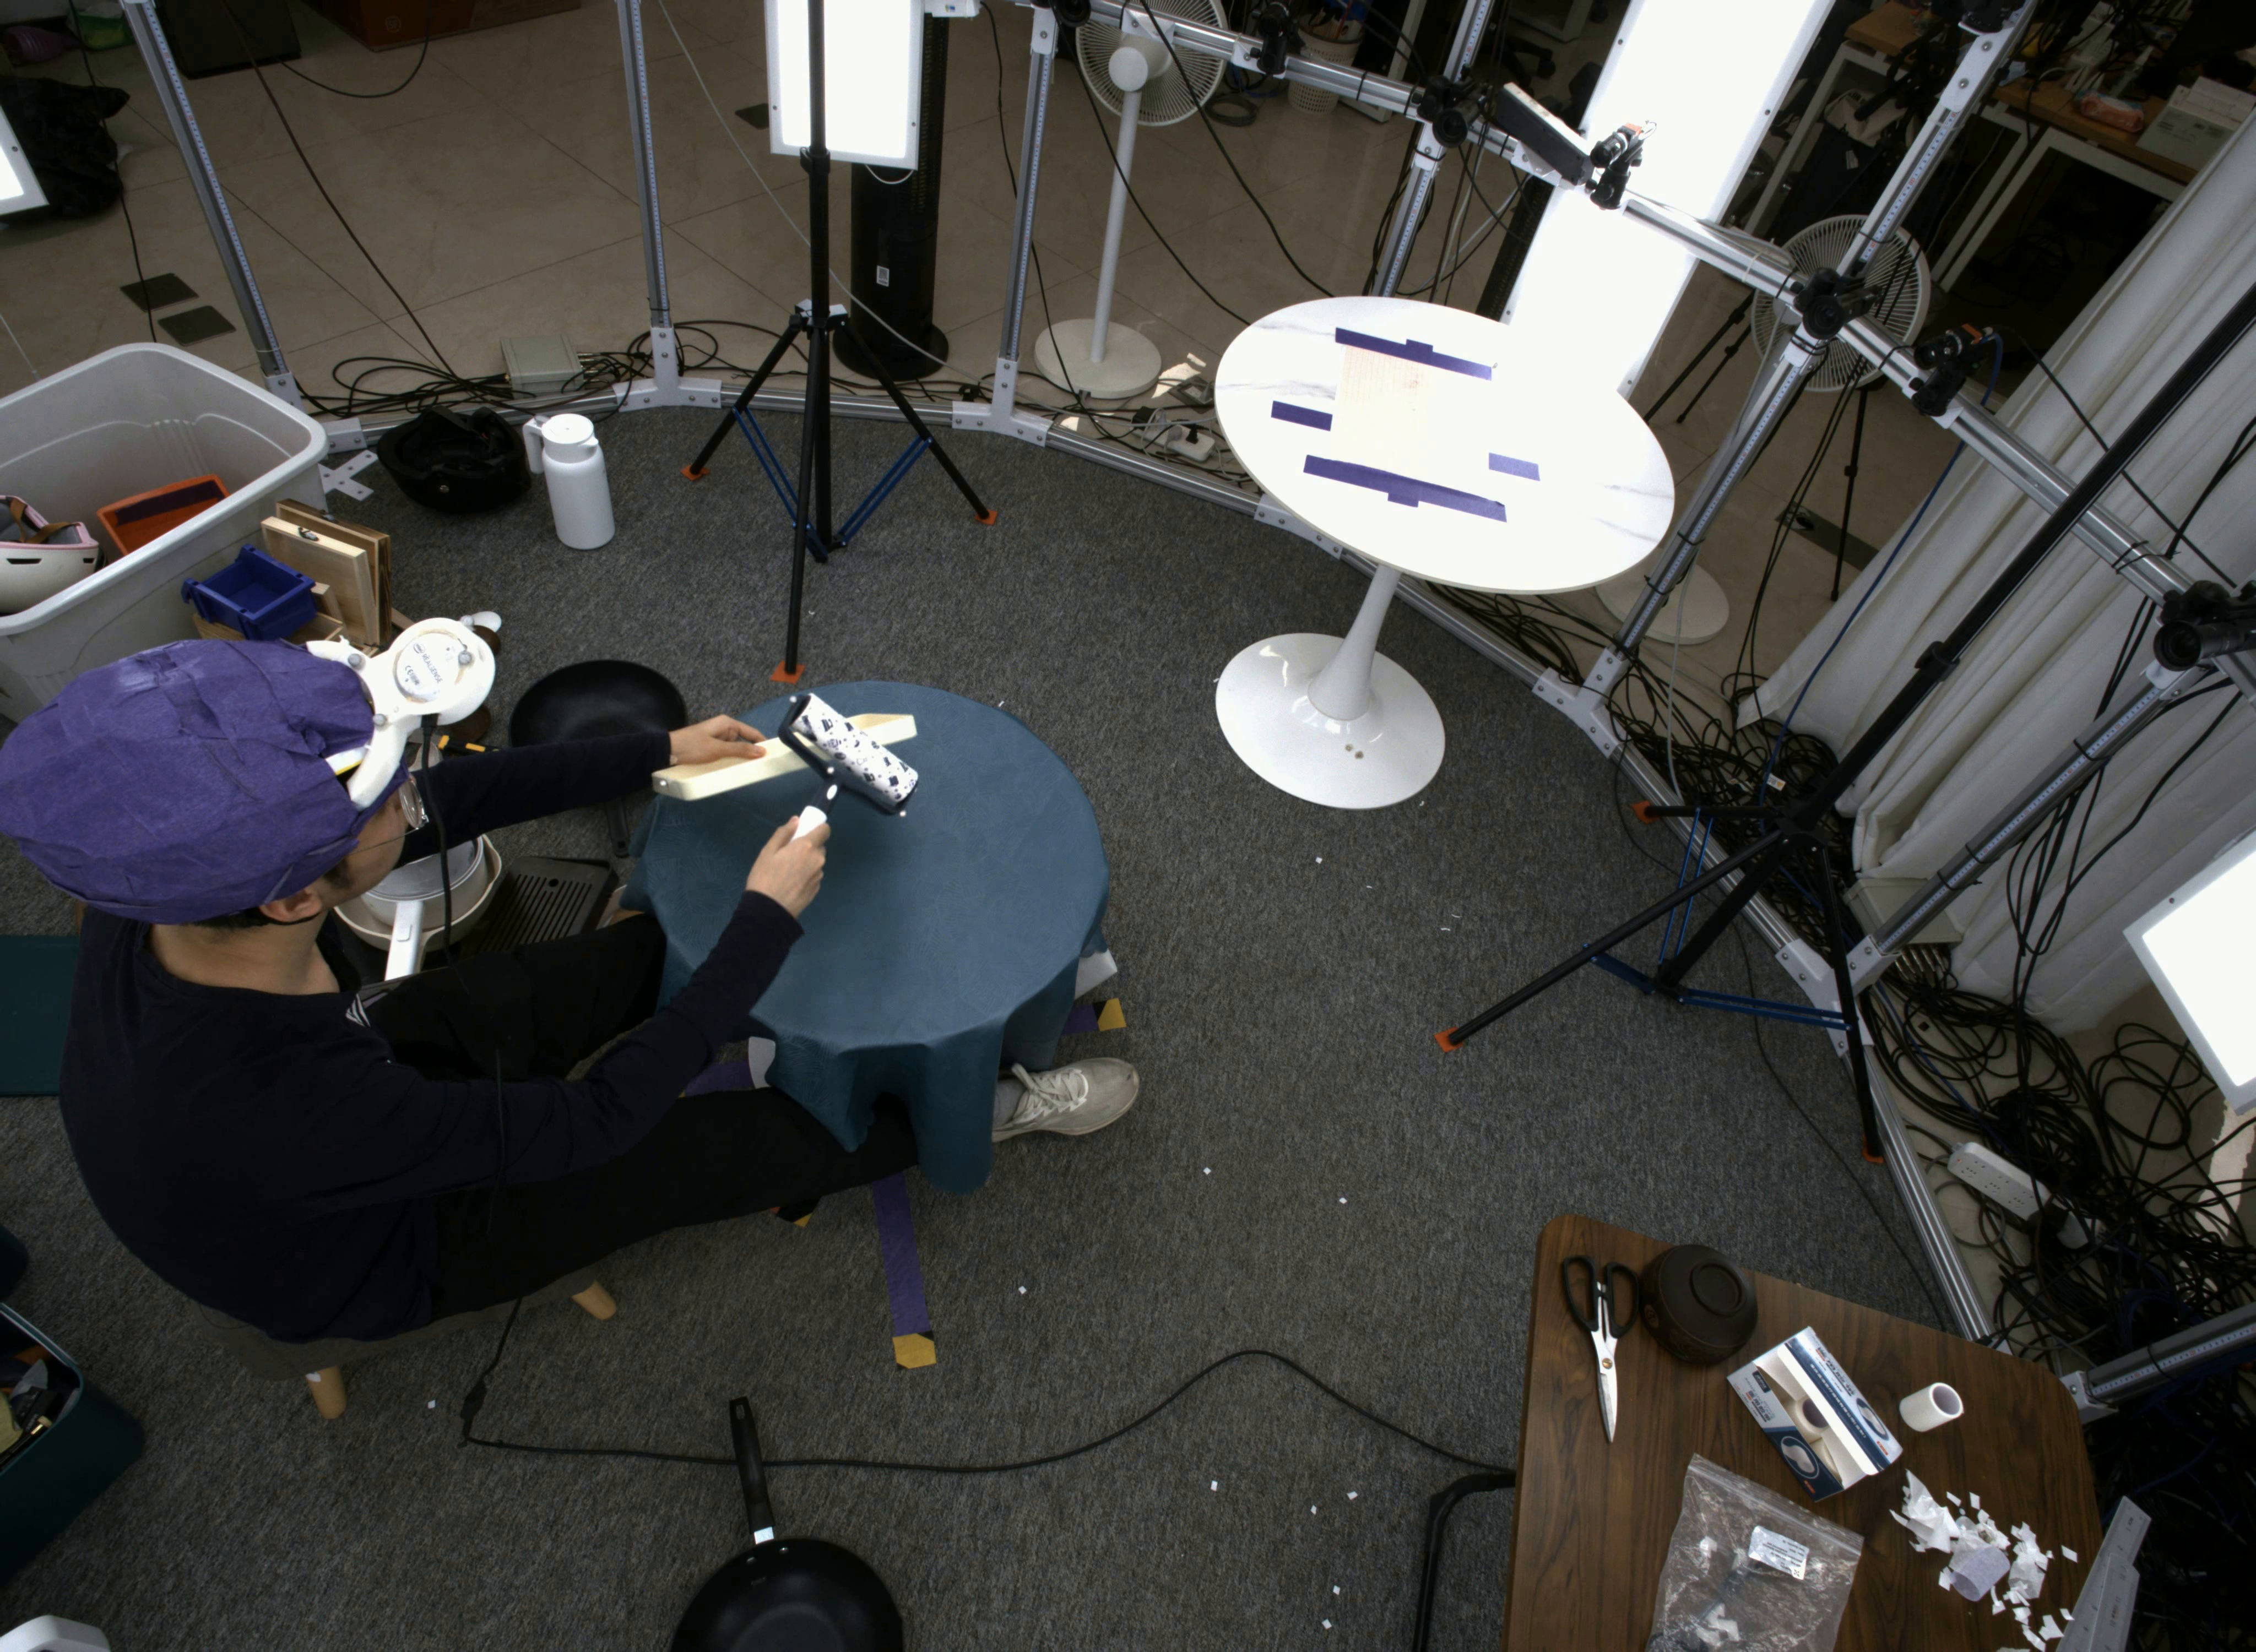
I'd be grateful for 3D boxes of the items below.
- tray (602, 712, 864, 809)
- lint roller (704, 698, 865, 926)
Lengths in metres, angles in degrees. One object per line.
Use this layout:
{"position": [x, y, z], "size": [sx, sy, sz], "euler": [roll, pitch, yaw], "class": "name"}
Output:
{"position": [-0.493, -0.086, 1.603], "size": [0.302, 0.185, 0.028], "euler": [-22, 107, -31], "class": "tray"}
{"position": [-0.415, 0.000, 1.469], "size": [0.182, 0.049, 0.246], "euler": [37, 60, -32], "class": "lint roller"}
